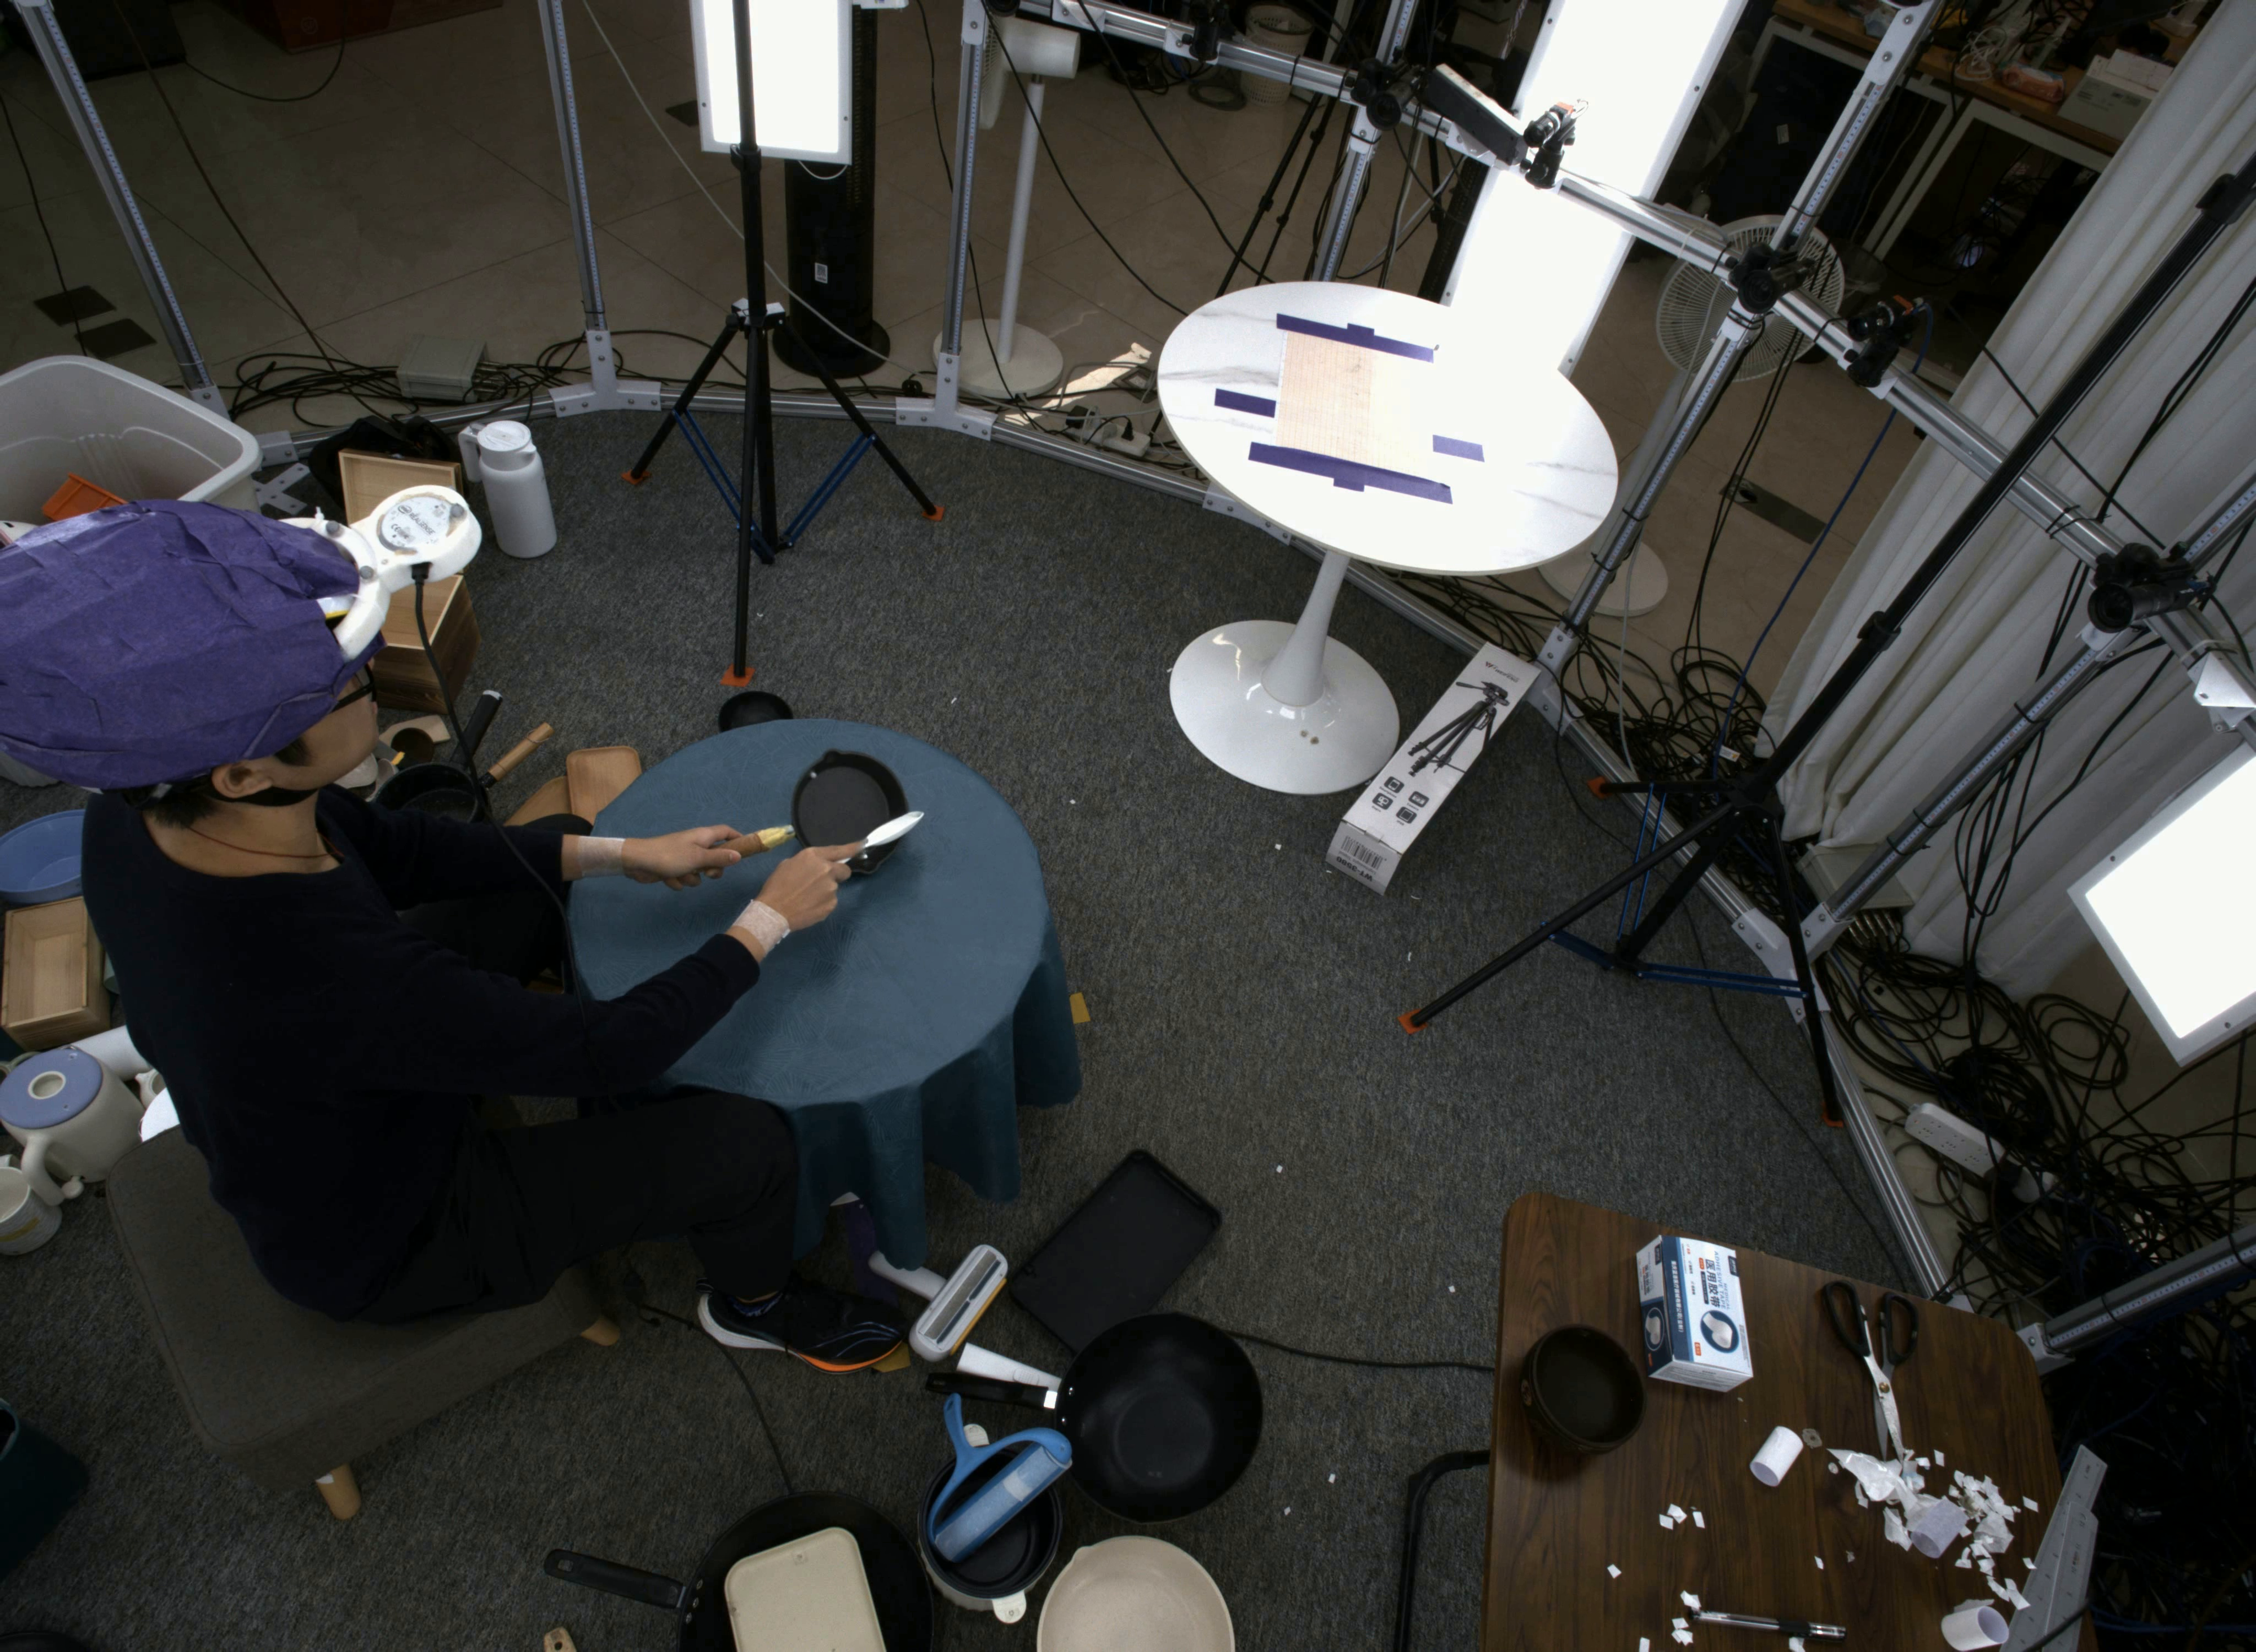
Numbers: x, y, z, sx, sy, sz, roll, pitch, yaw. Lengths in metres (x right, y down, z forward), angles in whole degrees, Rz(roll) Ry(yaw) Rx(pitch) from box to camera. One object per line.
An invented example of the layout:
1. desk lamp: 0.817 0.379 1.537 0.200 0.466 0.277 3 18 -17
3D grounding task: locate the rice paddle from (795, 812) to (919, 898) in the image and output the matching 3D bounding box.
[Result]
1. rice paddle: -0.336 0.026 1.628 0.205 0.067 0.030 -41 115 -46

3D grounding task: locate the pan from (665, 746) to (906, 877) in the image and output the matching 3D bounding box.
1. pan: -0.431 0.003 1.628 0.327 0.048 0.172 -19 97 -33
